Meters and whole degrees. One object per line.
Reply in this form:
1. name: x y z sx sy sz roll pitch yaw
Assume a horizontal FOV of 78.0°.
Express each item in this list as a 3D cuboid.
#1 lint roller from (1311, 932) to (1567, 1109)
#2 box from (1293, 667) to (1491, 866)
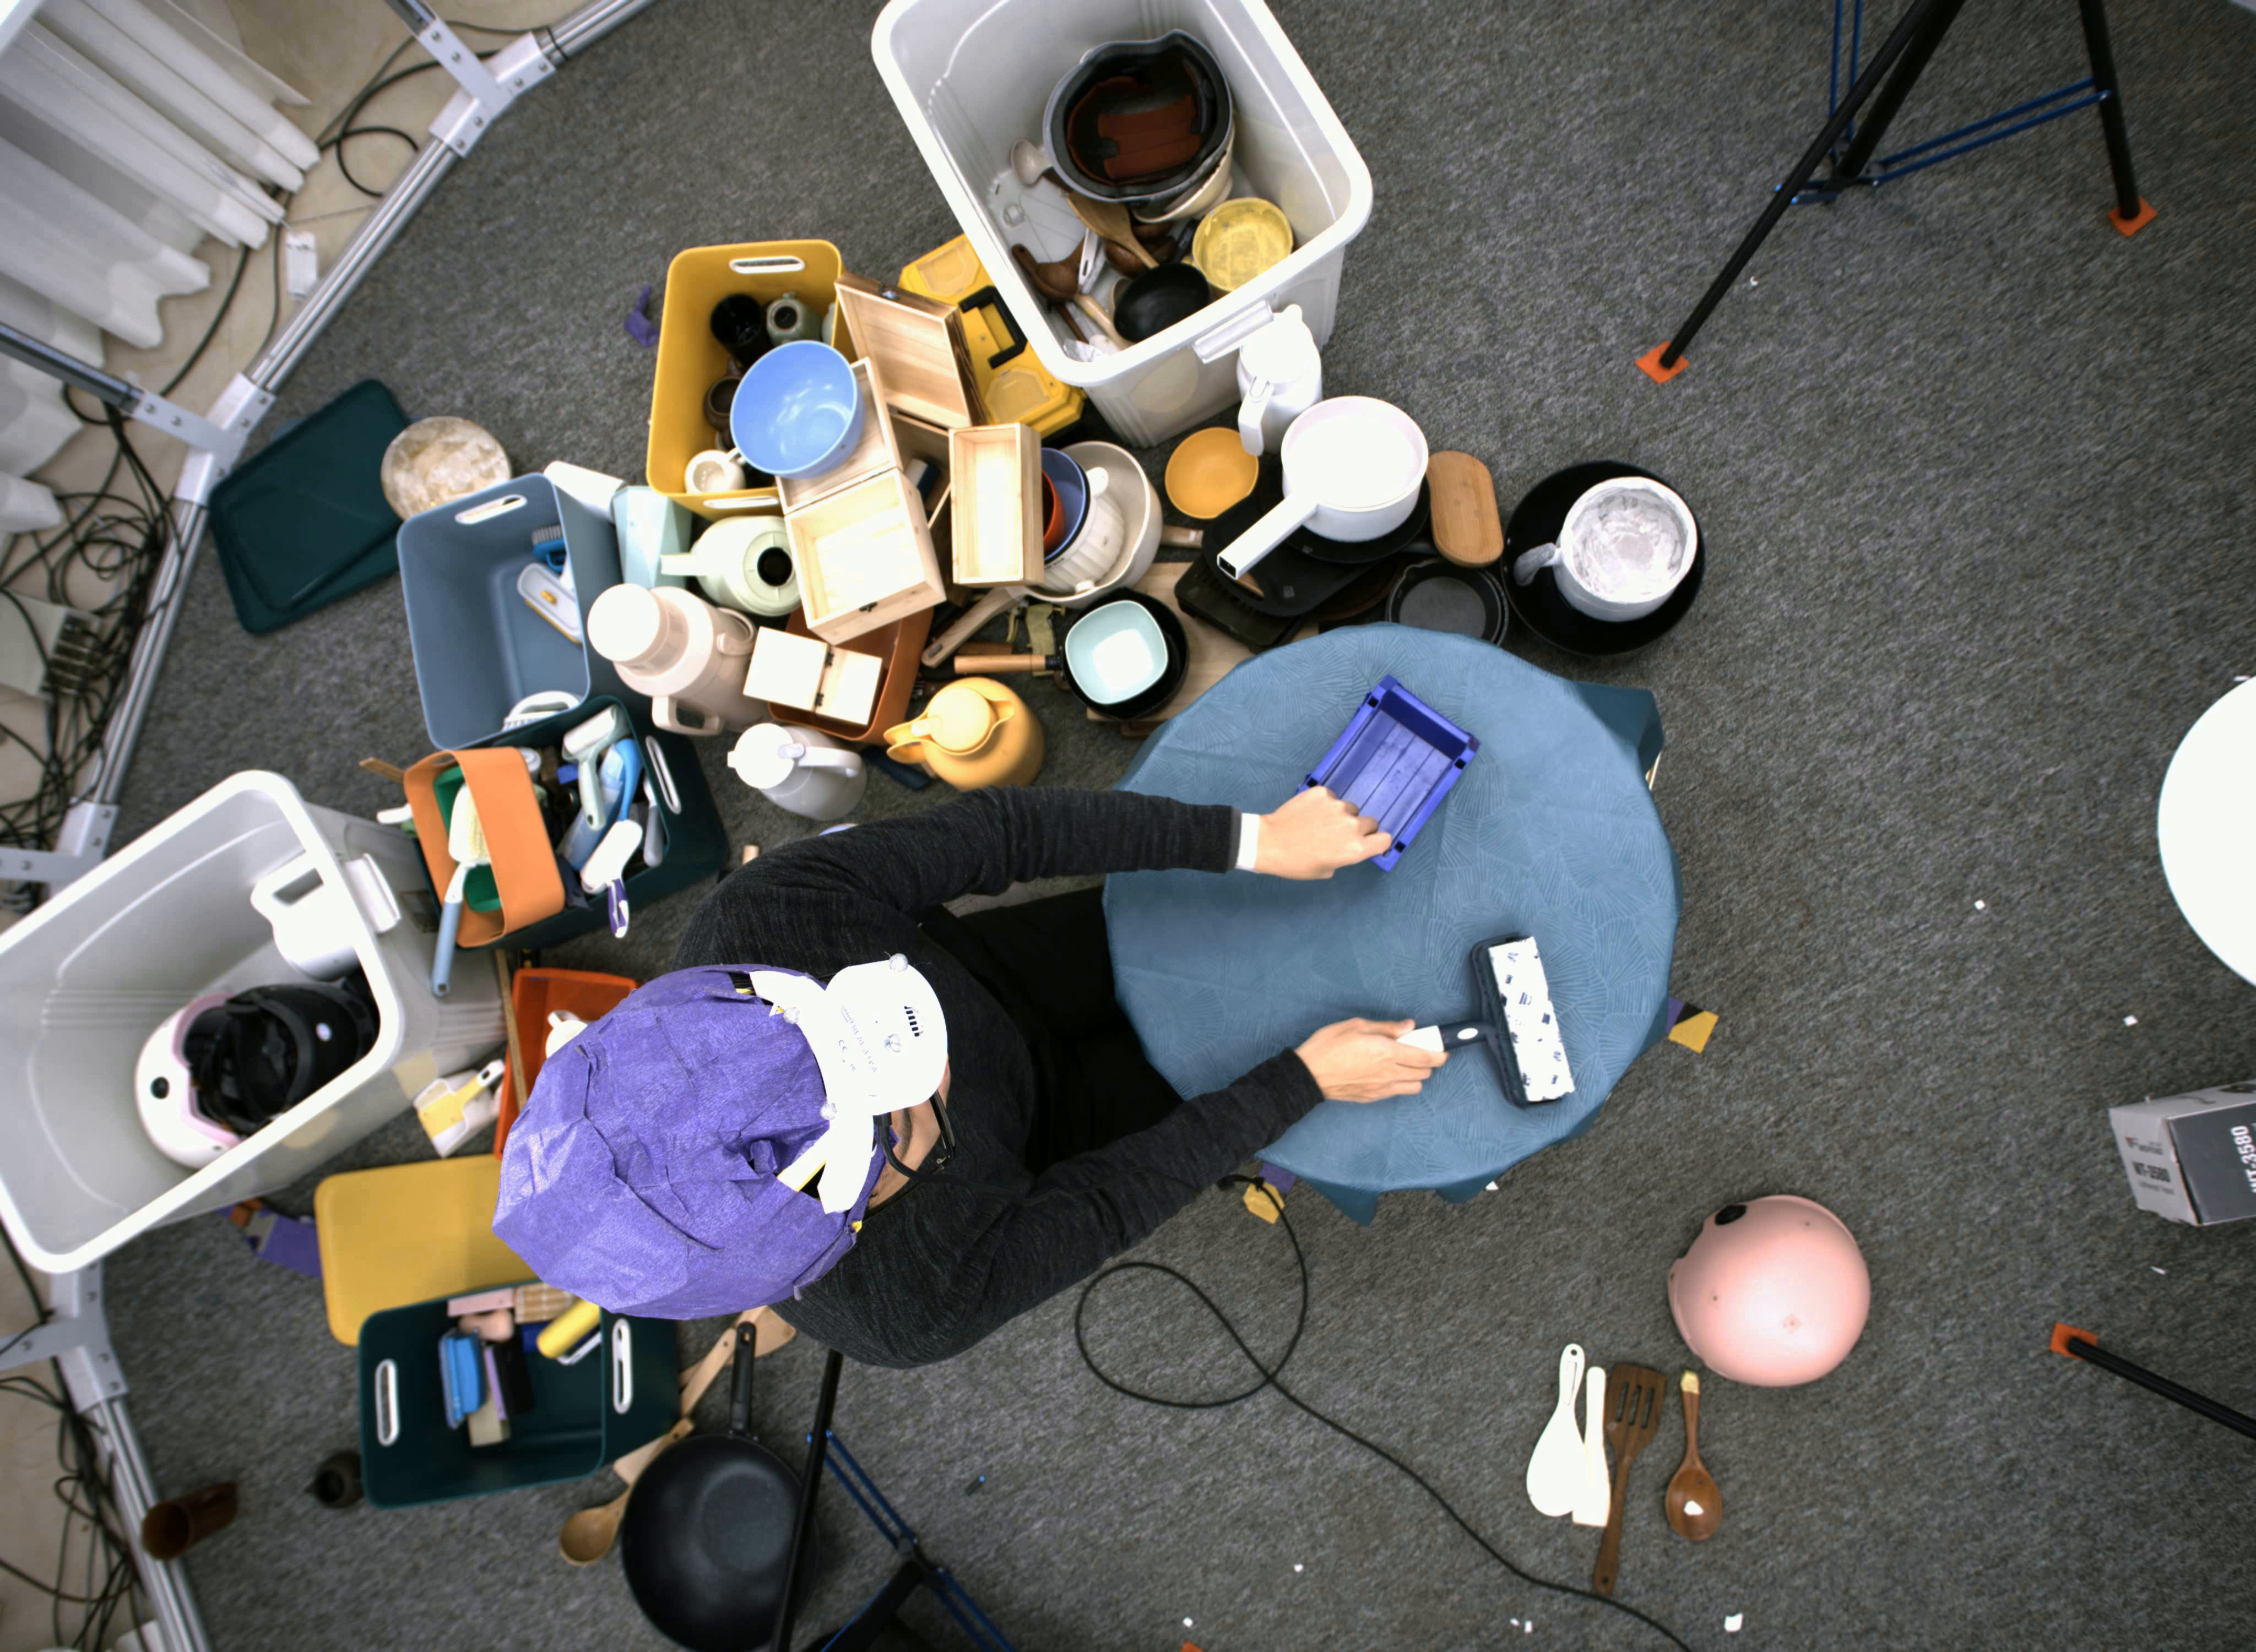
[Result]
1. lint roller: 0.309 0.219 1.411 0.248 0.050 0.176 -15 92 10
2. box: 0.269 -0.064 1.406 0.124 0.082 0.179 38 91 9
